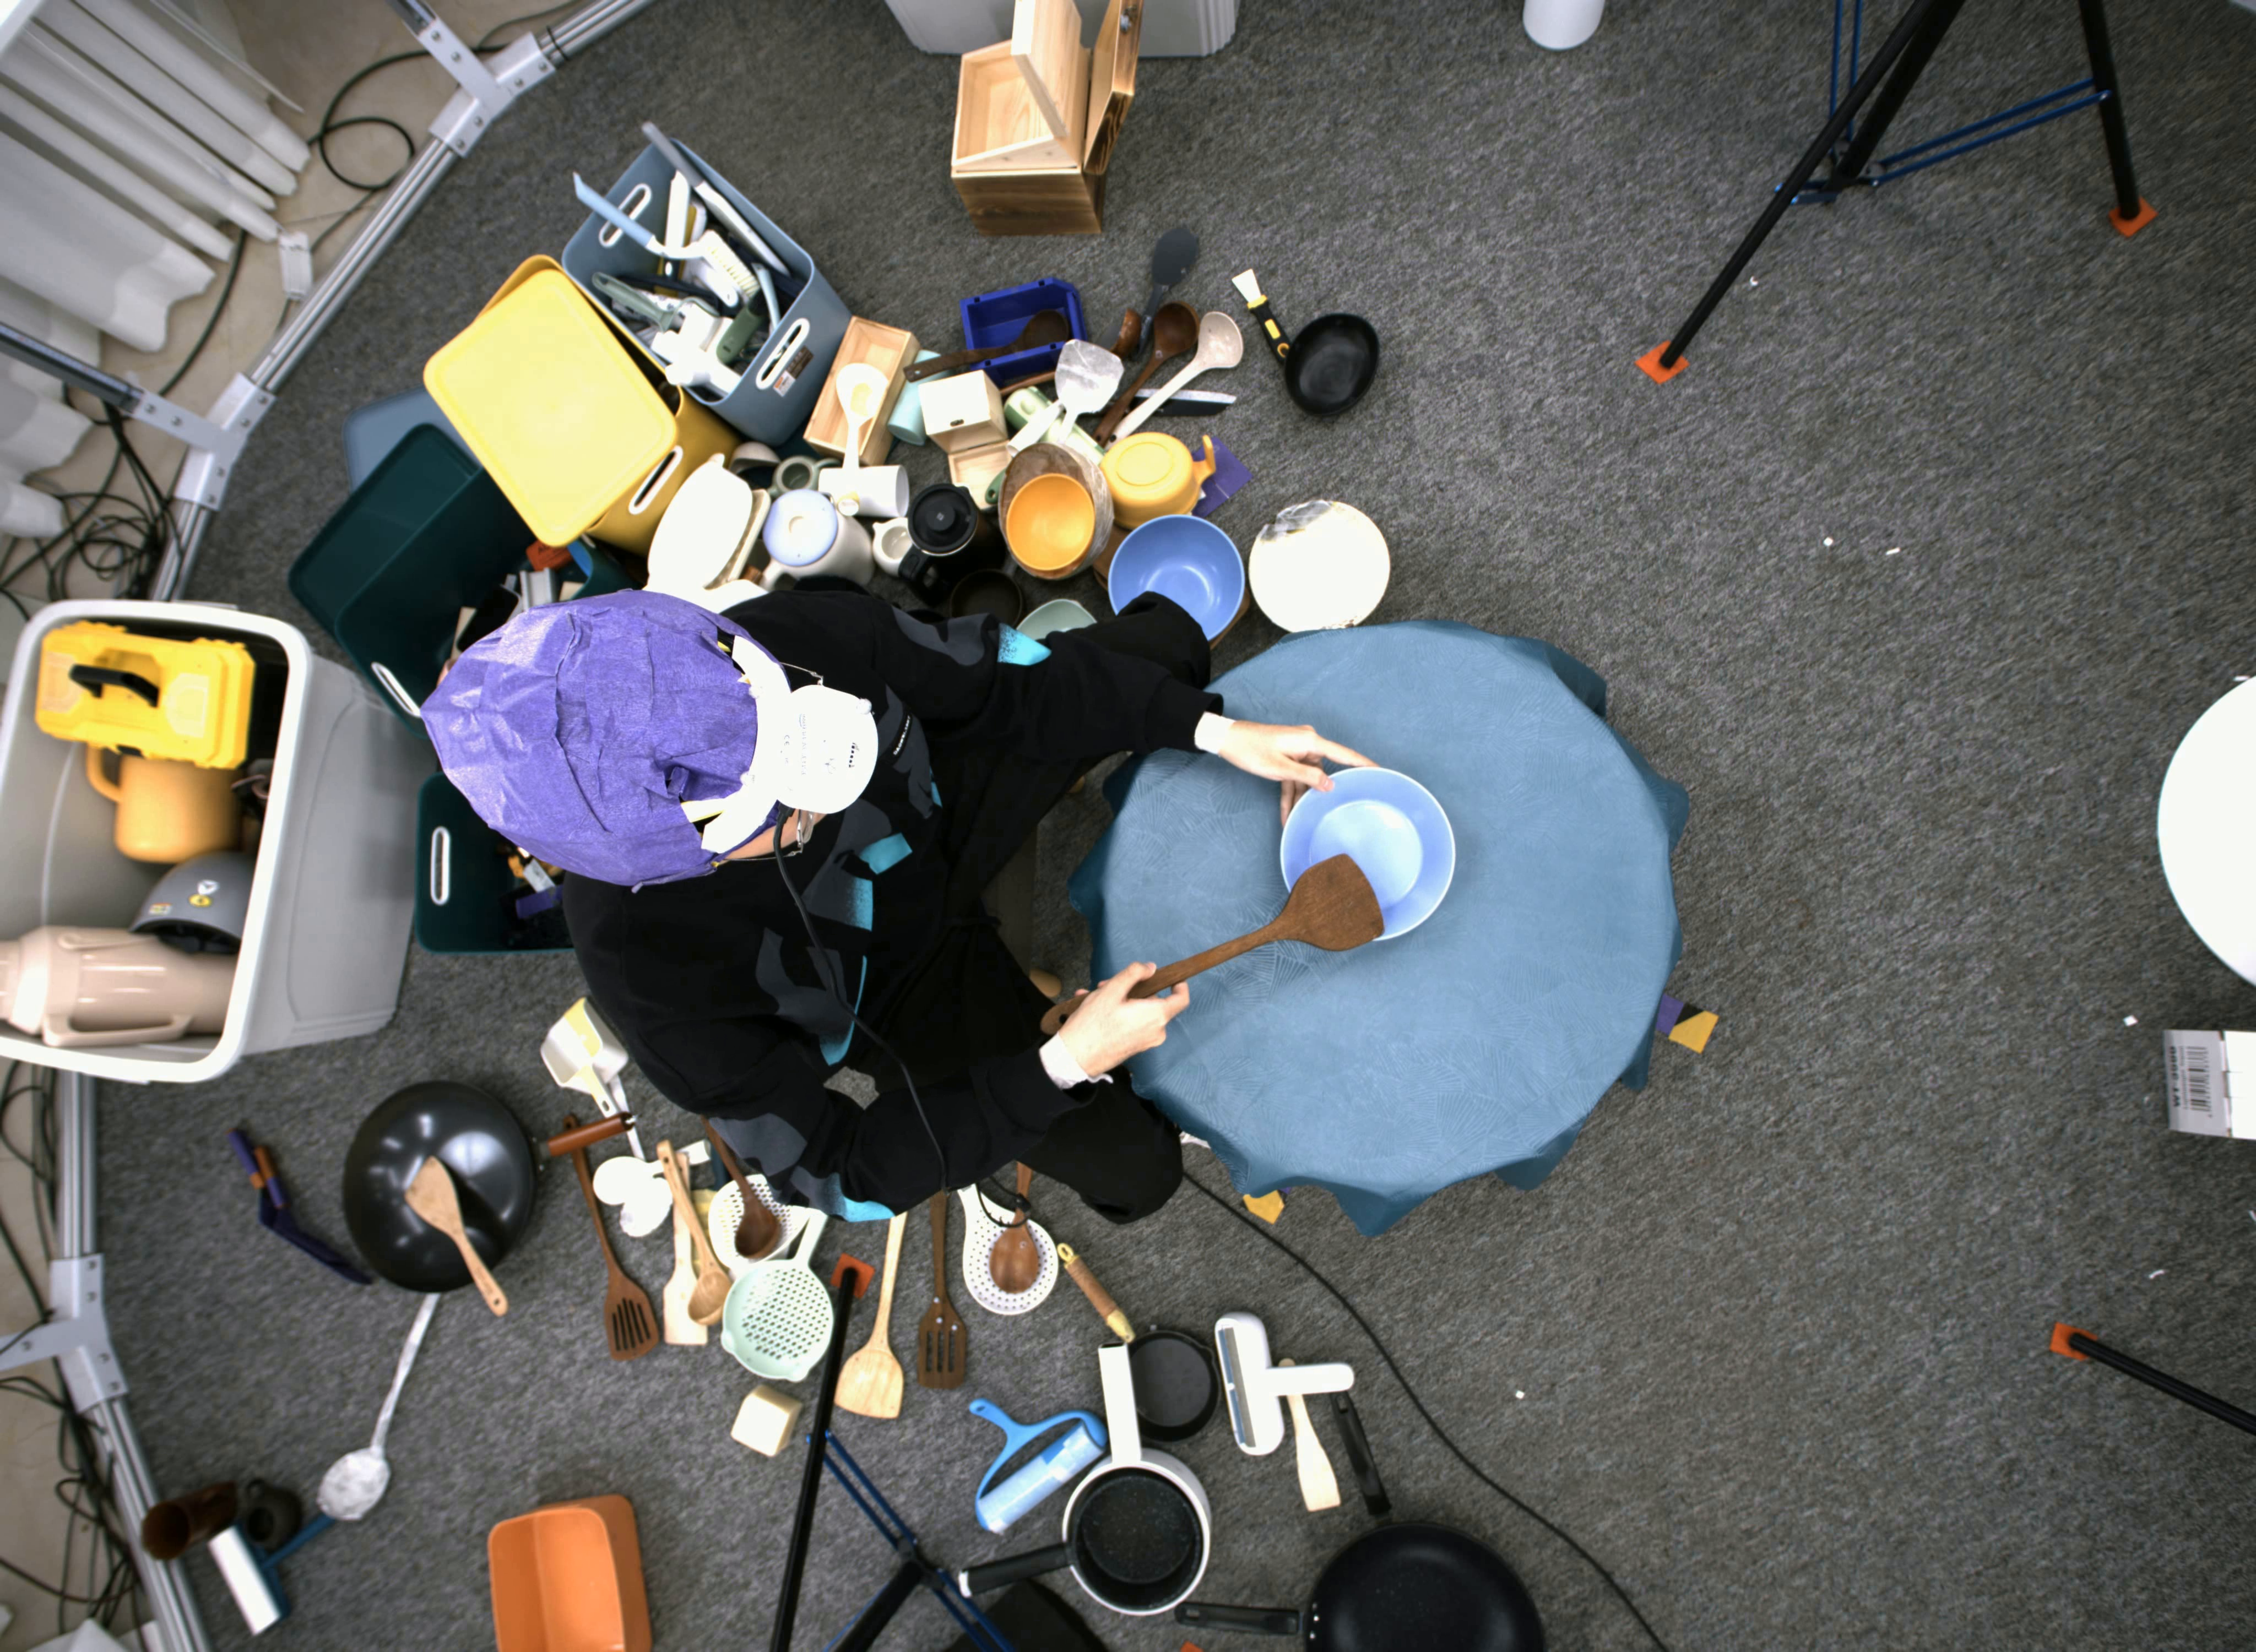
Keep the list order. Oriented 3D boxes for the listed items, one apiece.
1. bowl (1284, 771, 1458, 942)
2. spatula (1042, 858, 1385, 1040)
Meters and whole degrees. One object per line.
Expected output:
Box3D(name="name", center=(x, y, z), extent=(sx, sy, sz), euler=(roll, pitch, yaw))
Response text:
Box3D(name="bowl", center=(0.251, 0.032, 1.432), extent=(0.177, 0.070, 0.175), euler=(-1, 88, 10))
Box3D(name="spatula", center=(0.088, 0.126, 1.333), extent=(0.381, 0.016, 0.095), euler=(-20, 81, -26))
